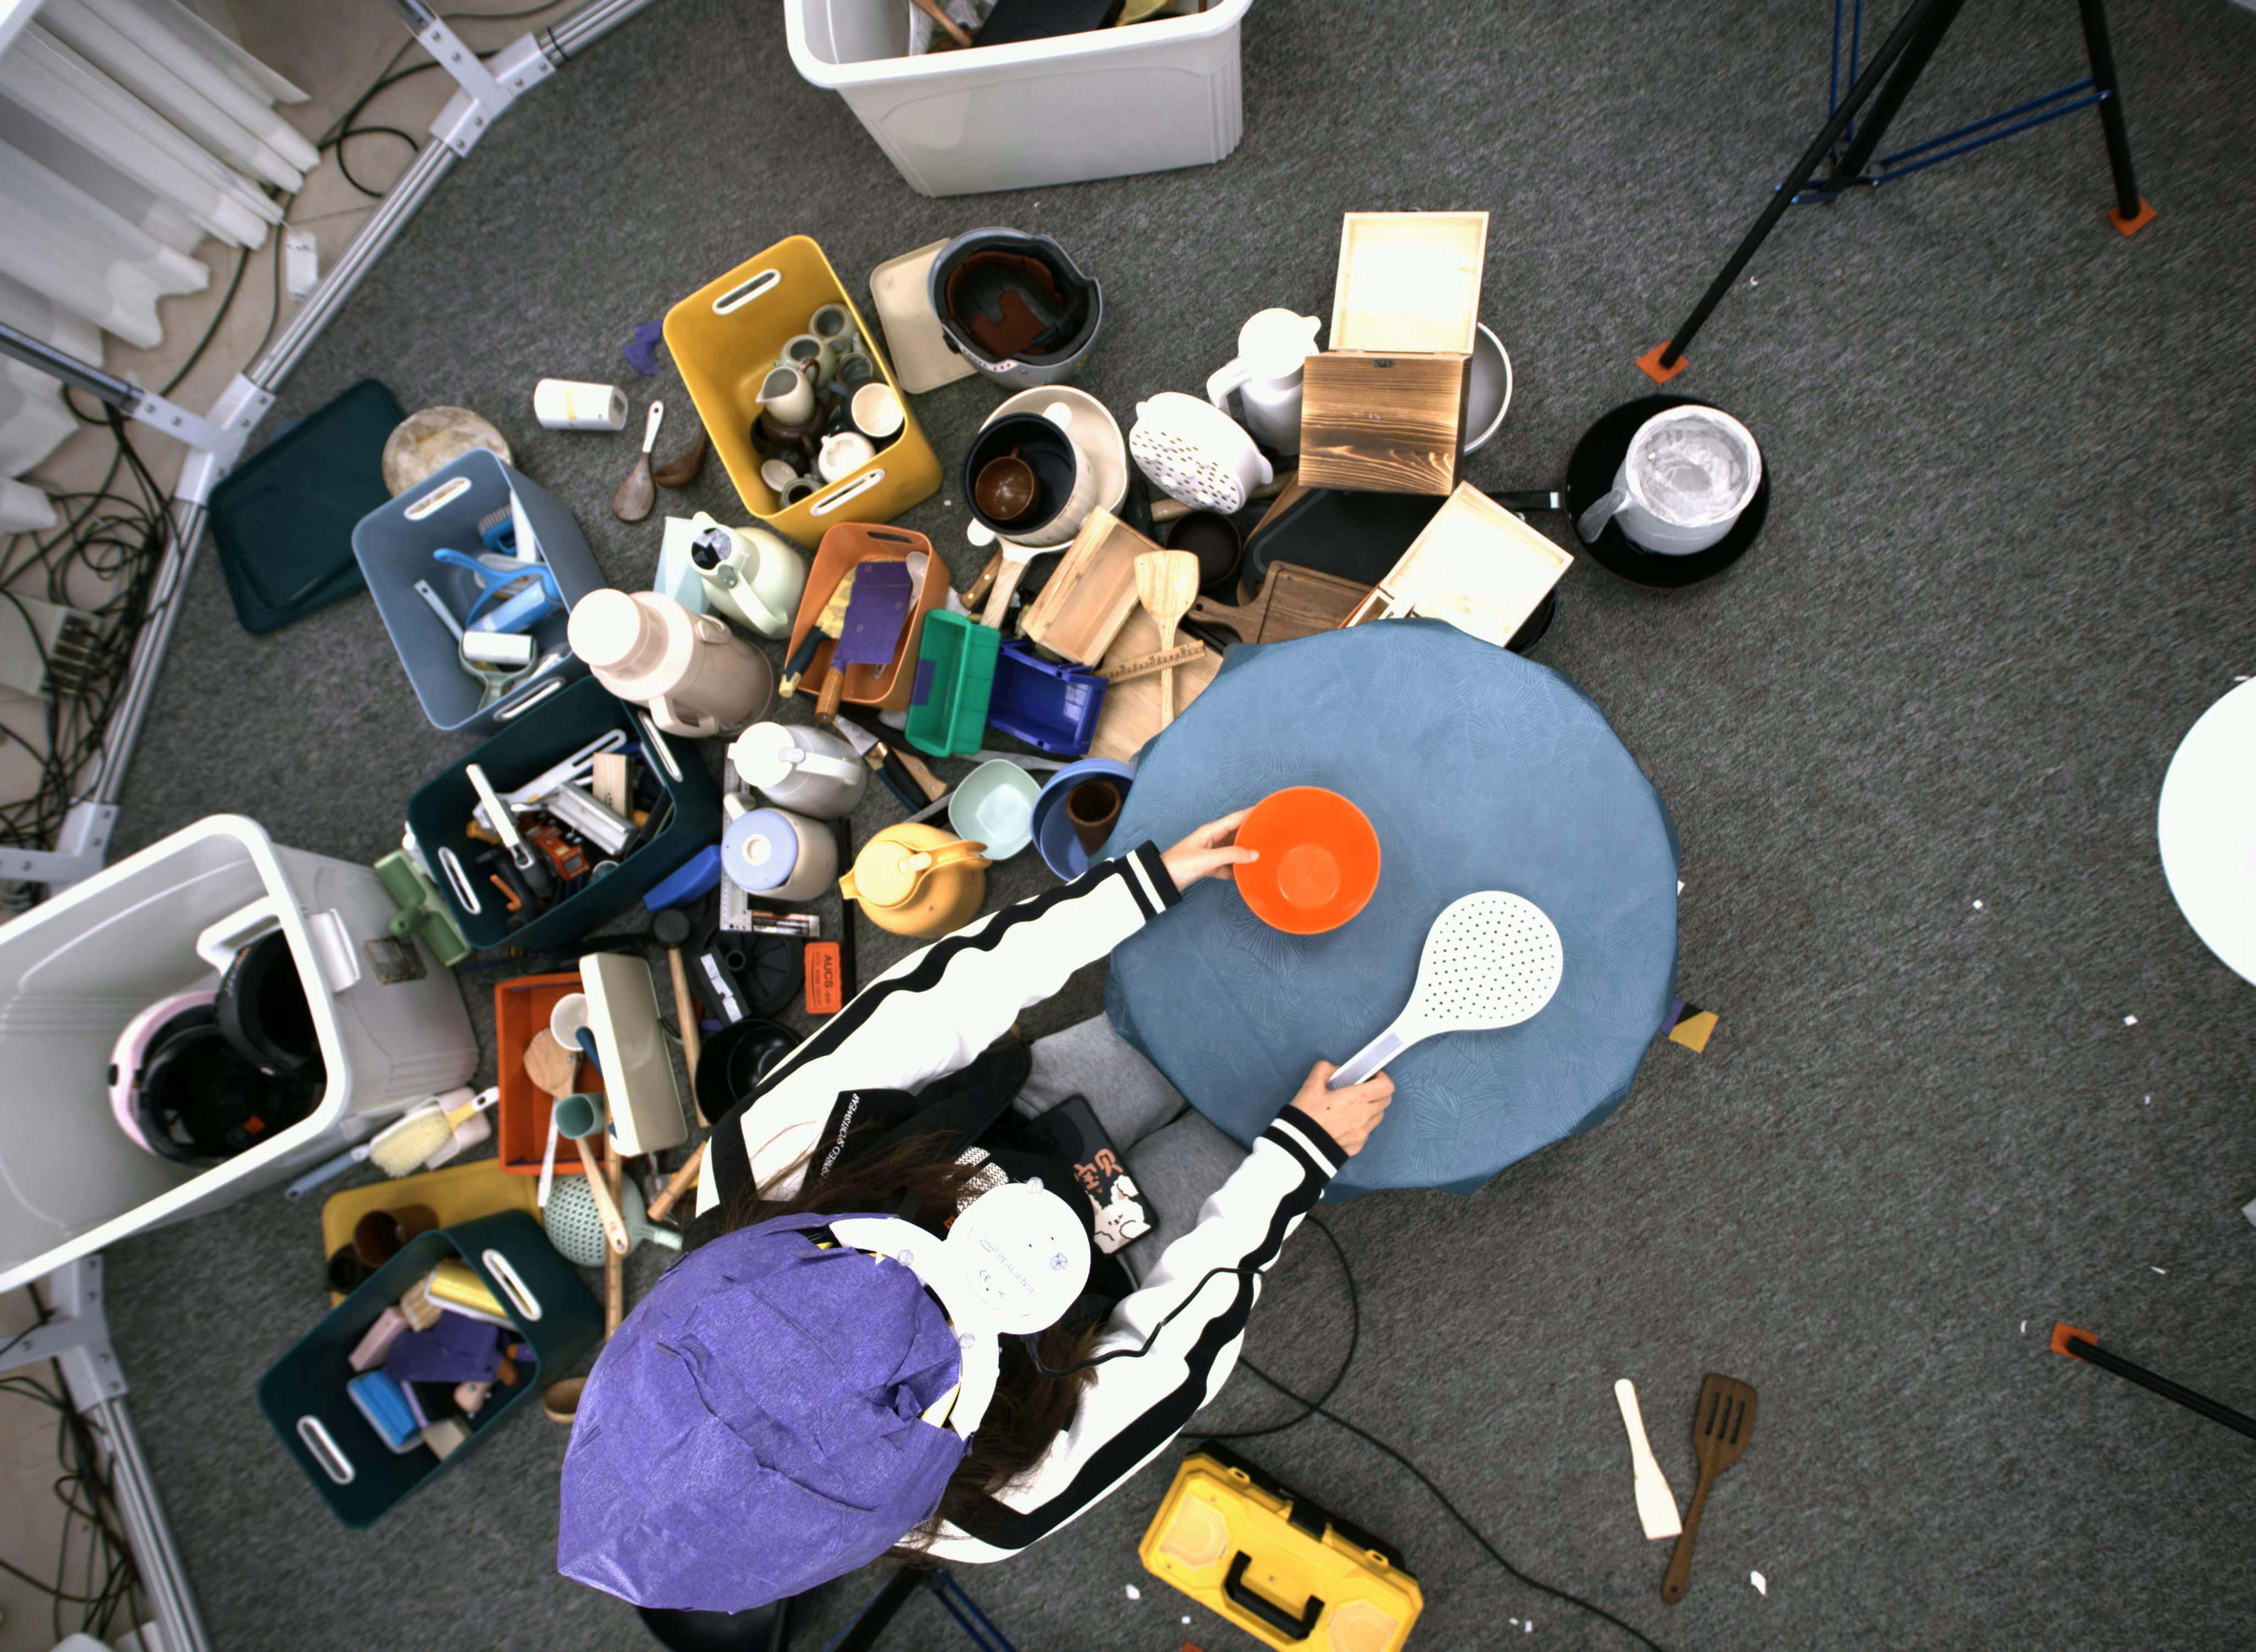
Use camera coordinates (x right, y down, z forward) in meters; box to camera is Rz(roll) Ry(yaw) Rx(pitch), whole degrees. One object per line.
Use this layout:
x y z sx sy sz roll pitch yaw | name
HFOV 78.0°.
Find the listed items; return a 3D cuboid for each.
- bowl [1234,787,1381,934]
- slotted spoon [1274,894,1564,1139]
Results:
0.185 0.038 1.427 0.148 0.104 0.147 -1 87 9 | bowl
0.292 0.205 1.424 0.351 0.046 0.135 -39 76 6 | slotted spoon
